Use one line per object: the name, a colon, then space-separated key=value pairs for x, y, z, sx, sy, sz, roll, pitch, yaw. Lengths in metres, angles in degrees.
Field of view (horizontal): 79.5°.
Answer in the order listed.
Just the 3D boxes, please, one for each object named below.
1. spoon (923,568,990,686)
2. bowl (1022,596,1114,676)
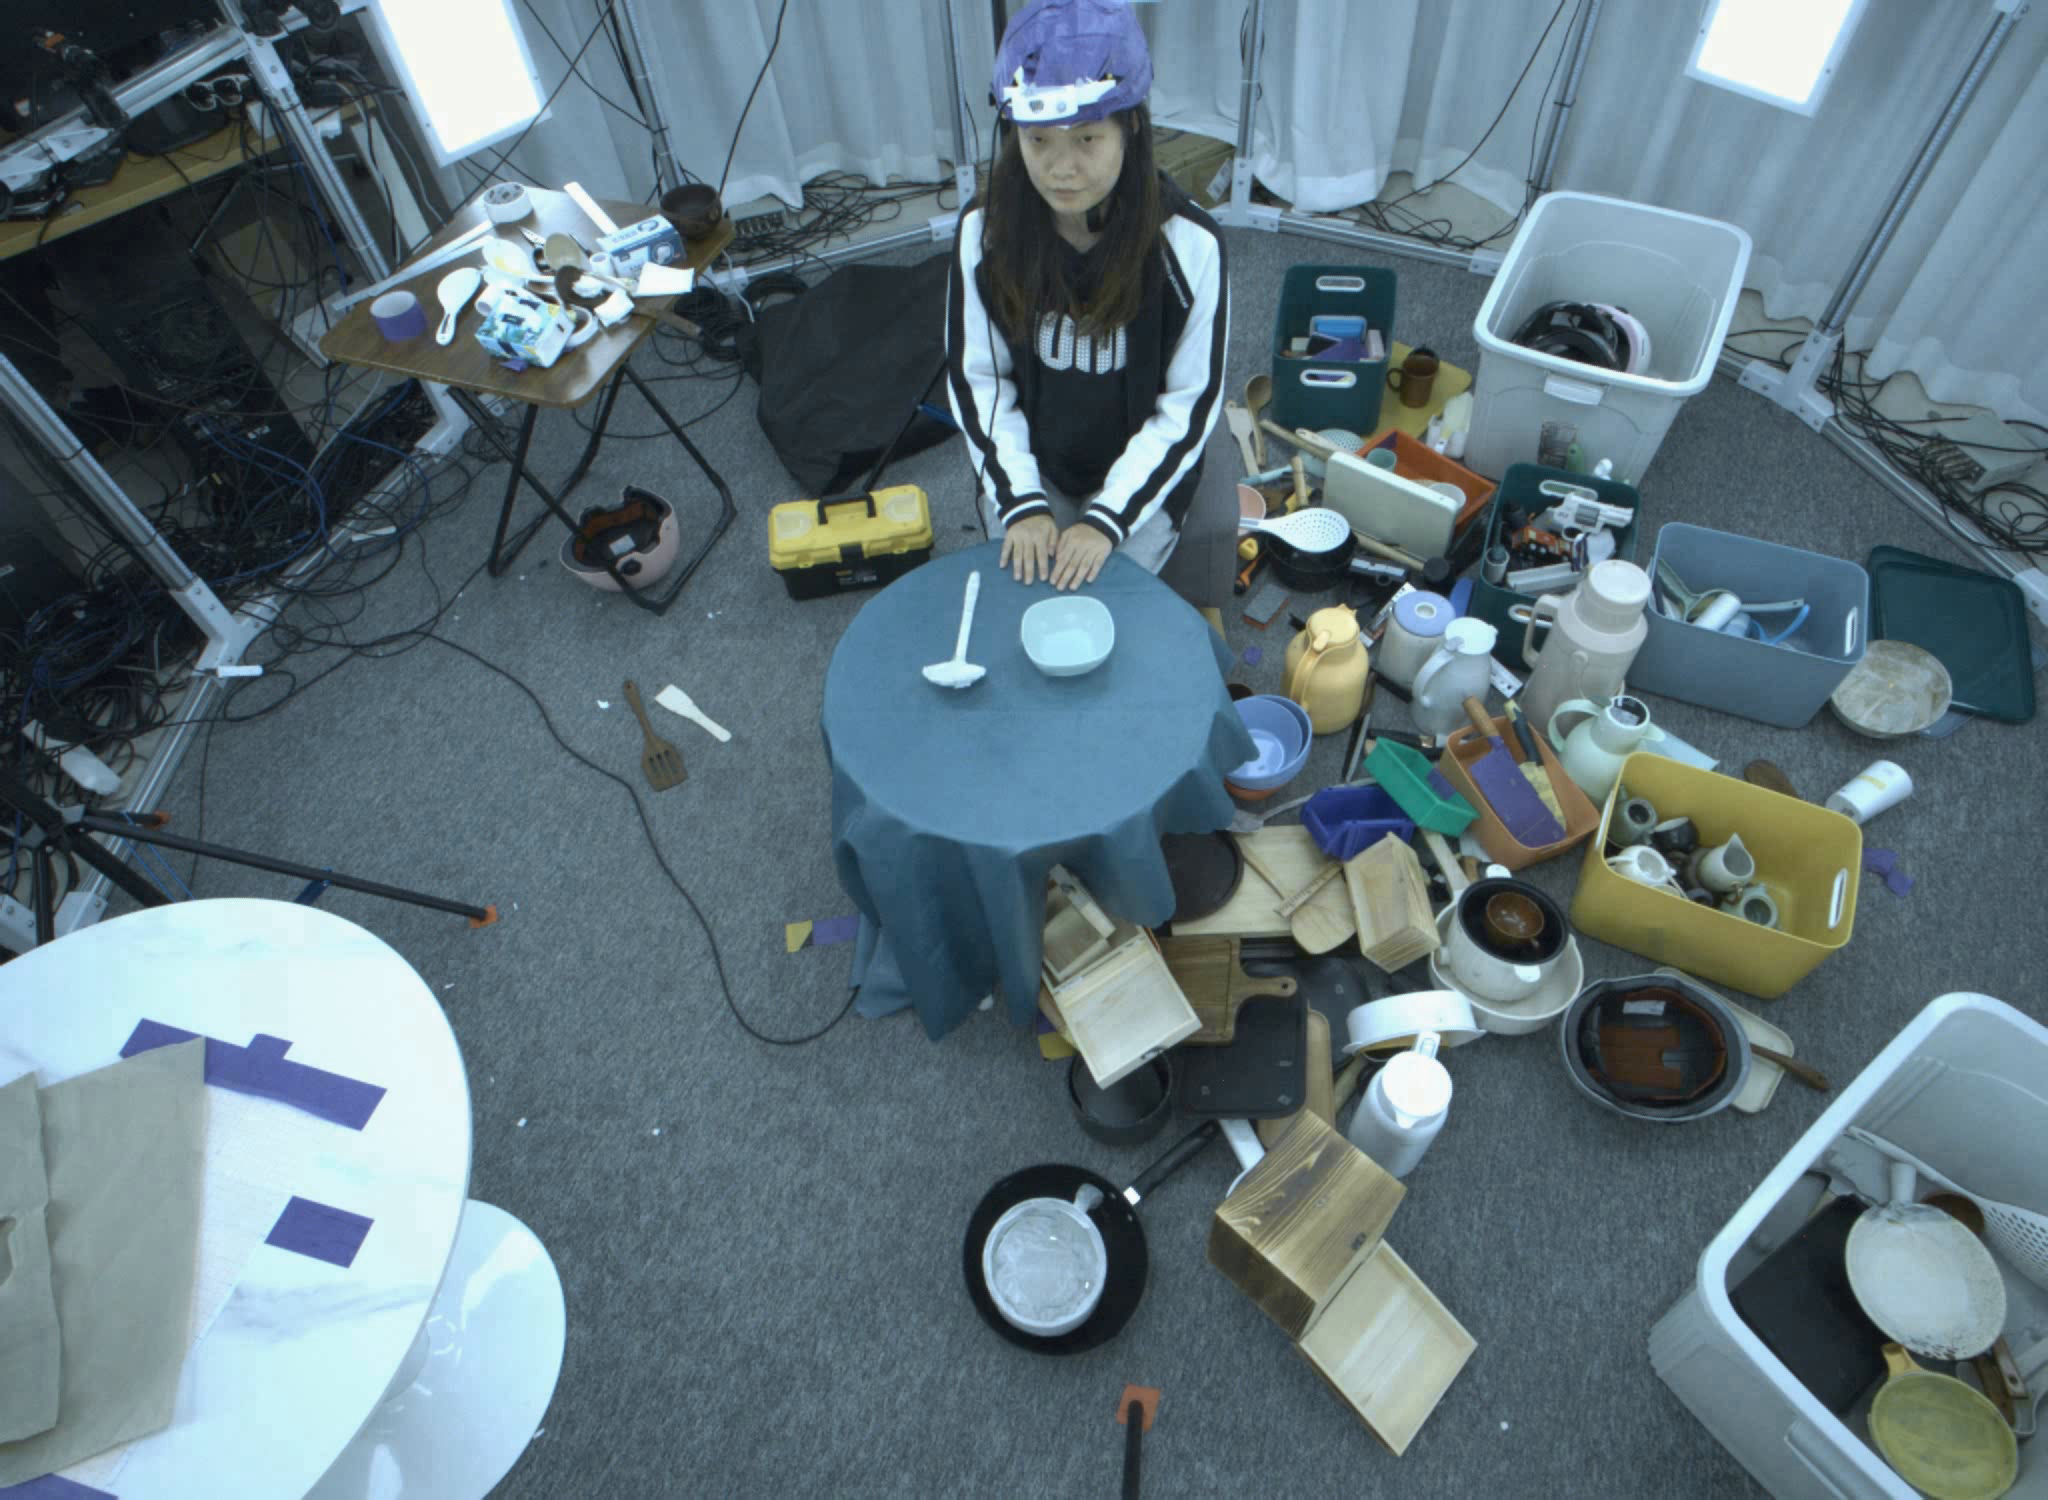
spoon: x=-0.086 y=-0.197 z=1.895 sx=0.100 sy=0.060 sz=0.275 roll=9 pitch=56 yaw=3
bowl: x=0.068 y=-0.164 z=1.869 sx=0.151 sy=0.059 sz=0.150 roll=-1 pitch=55 yaw=2
